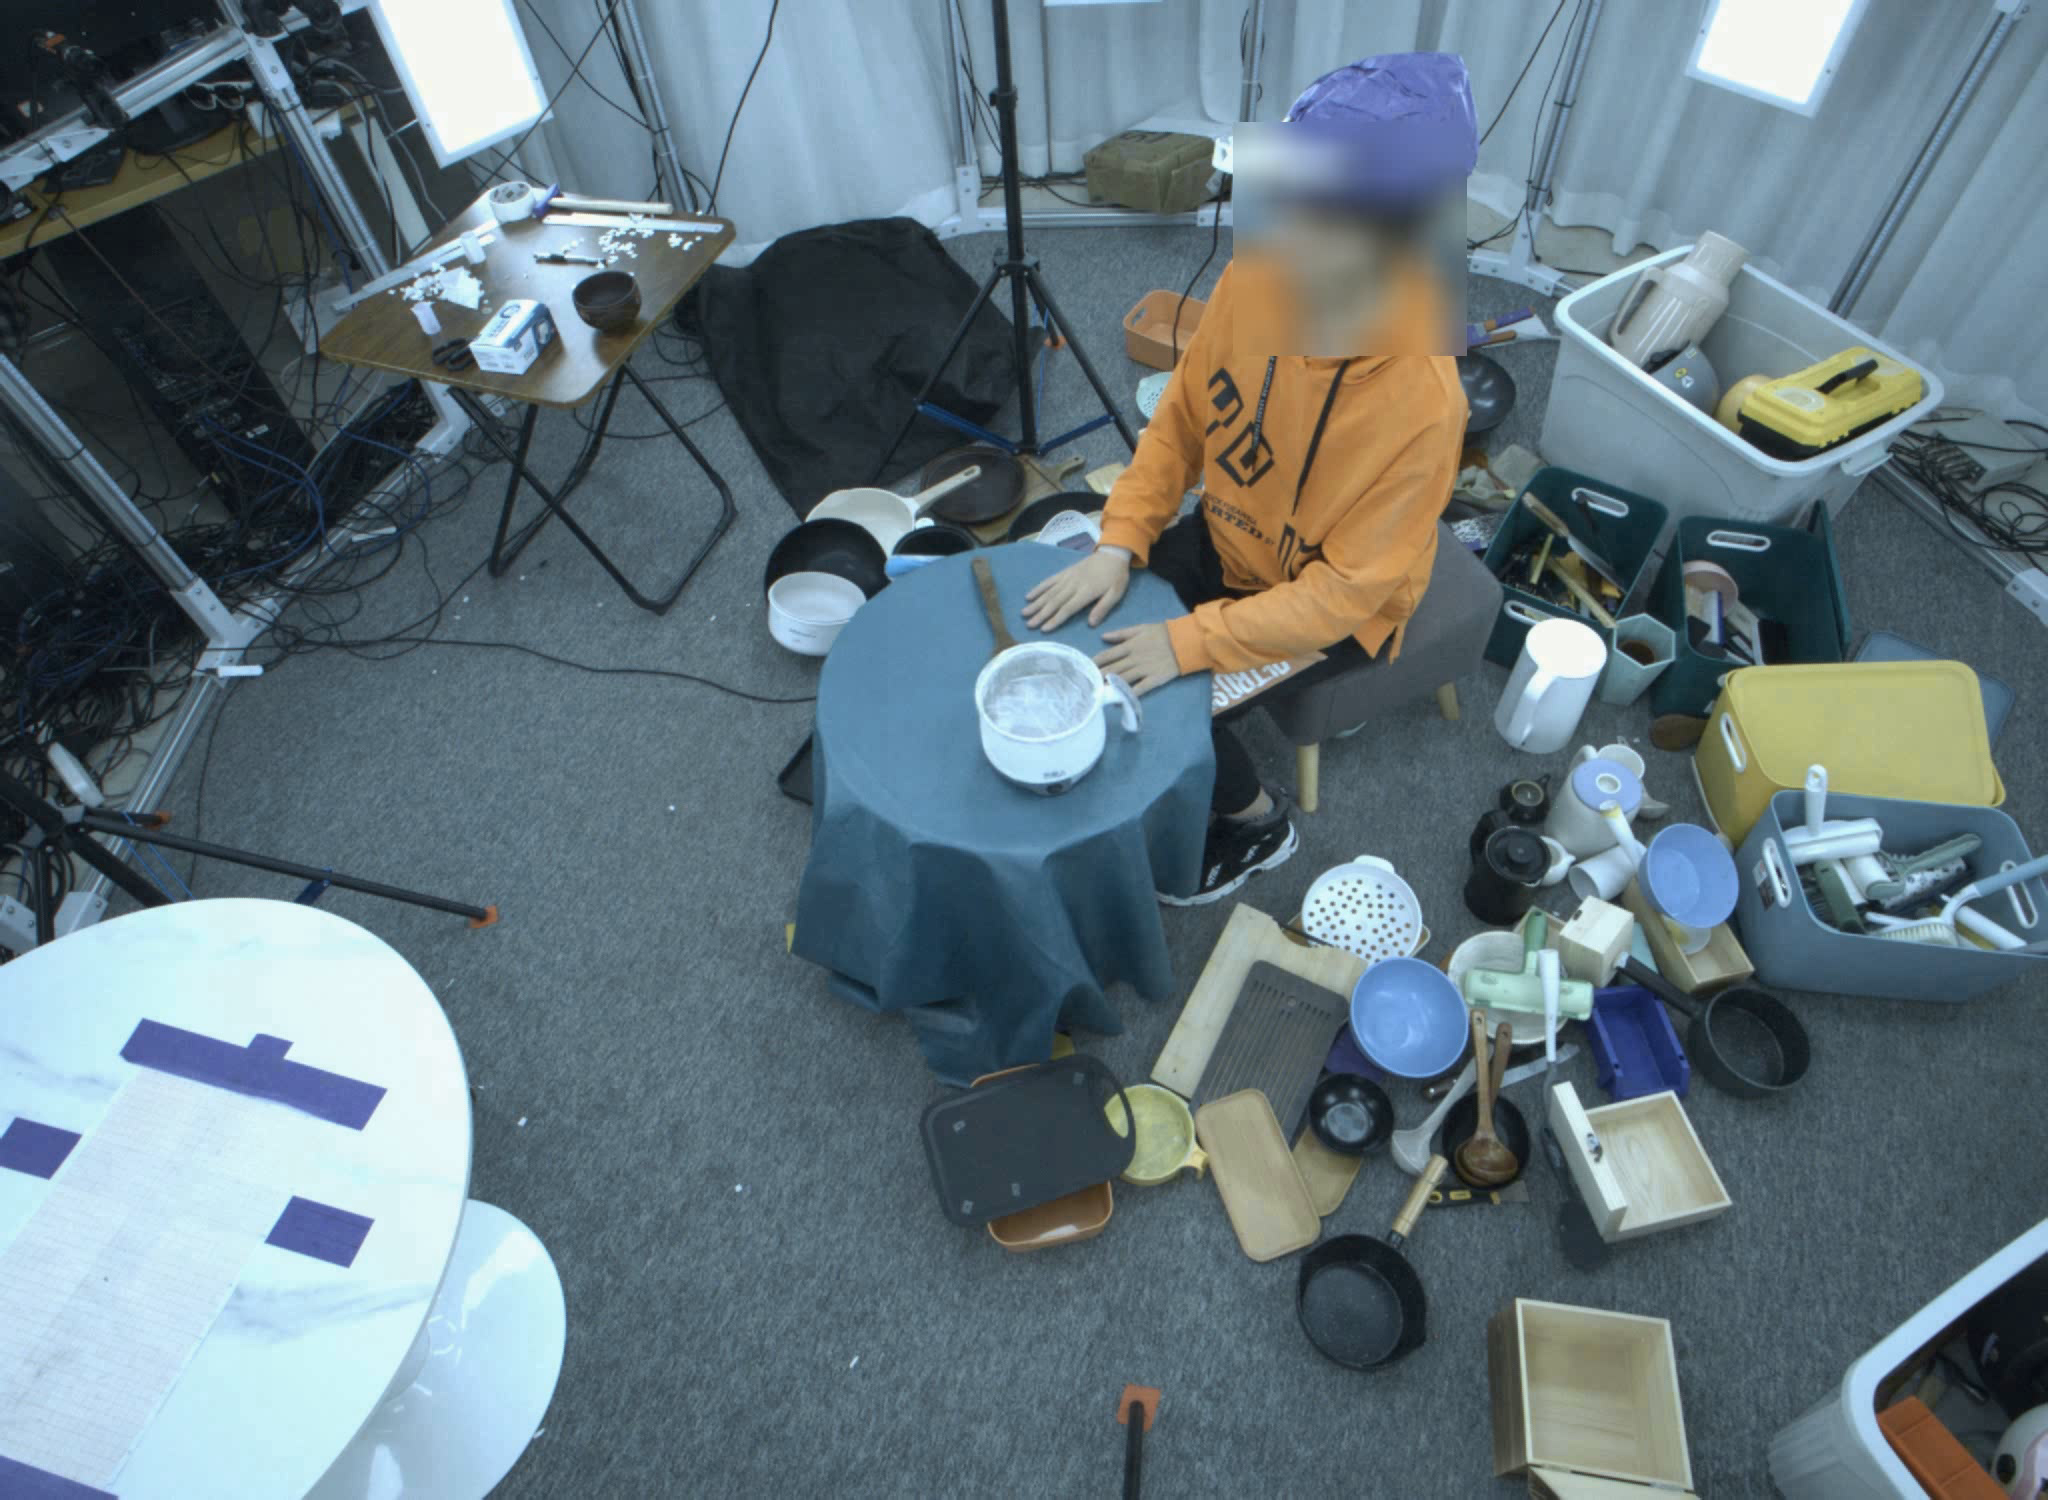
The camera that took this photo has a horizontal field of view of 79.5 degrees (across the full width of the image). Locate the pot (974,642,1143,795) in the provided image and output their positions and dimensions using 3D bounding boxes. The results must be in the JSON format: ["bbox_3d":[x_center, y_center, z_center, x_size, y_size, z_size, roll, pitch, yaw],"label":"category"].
[{"bbox_3d":[0.052,-0.049,1.735,0.234,0.138,0.176,-12,55,-5],"label":"pot"}]

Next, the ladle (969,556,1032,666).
[{"bbox_3d":[-0.048,-0.228,1.907,0.076,0.072,0.270,-11,56,-8],"label":"ladle"}]
